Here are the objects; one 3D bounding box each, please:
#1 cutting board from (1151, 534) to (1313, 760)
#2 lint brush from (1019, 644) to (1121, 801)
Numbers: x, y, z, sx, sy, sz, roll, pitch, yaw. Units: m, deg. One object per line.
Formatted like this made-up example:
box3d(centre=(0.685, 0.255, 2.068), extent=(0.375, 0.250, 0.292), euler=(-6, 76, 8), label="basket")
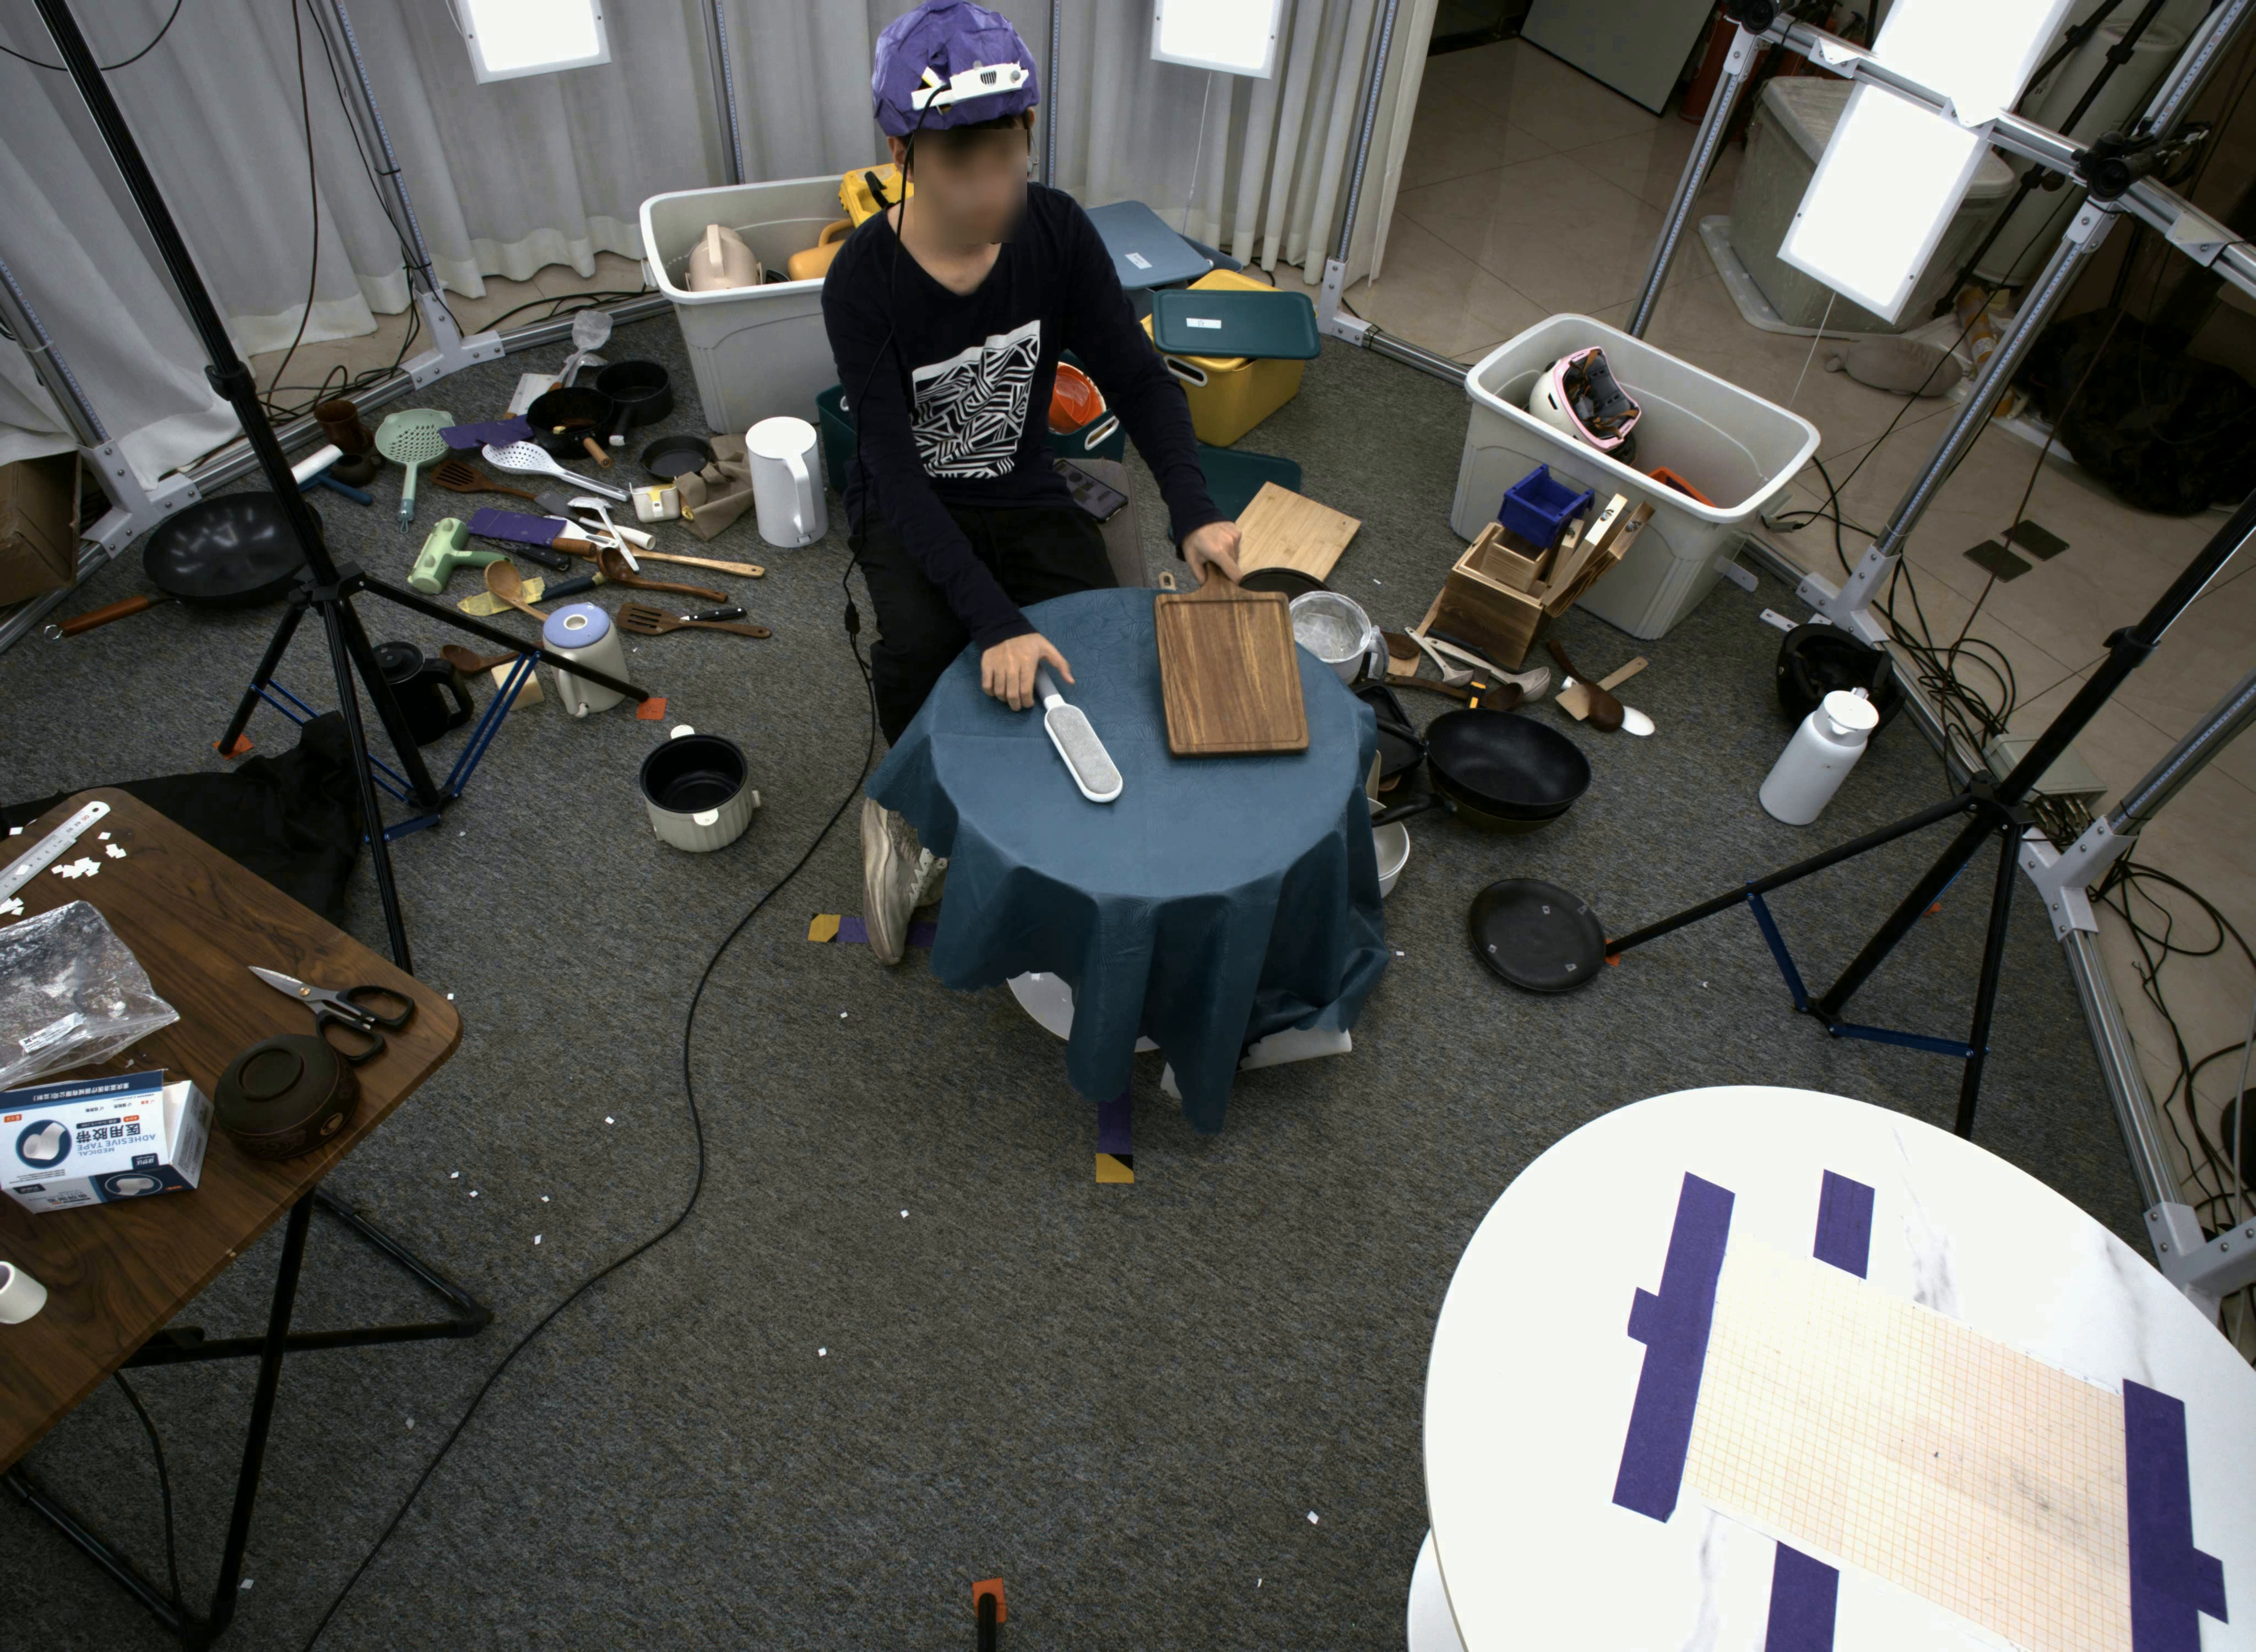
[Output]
box3d(centre=(0.139, -0.261, 1.821), extent=(0.201, 0.023, 0.359), euler=(-3, 67, -7), label="cutting board")
box3d(centre=(-0.086, -0.149, 1.773), extent=(0.060, 0.020, 0.316), euler=(-20, 53, -13), label="lint brush")
